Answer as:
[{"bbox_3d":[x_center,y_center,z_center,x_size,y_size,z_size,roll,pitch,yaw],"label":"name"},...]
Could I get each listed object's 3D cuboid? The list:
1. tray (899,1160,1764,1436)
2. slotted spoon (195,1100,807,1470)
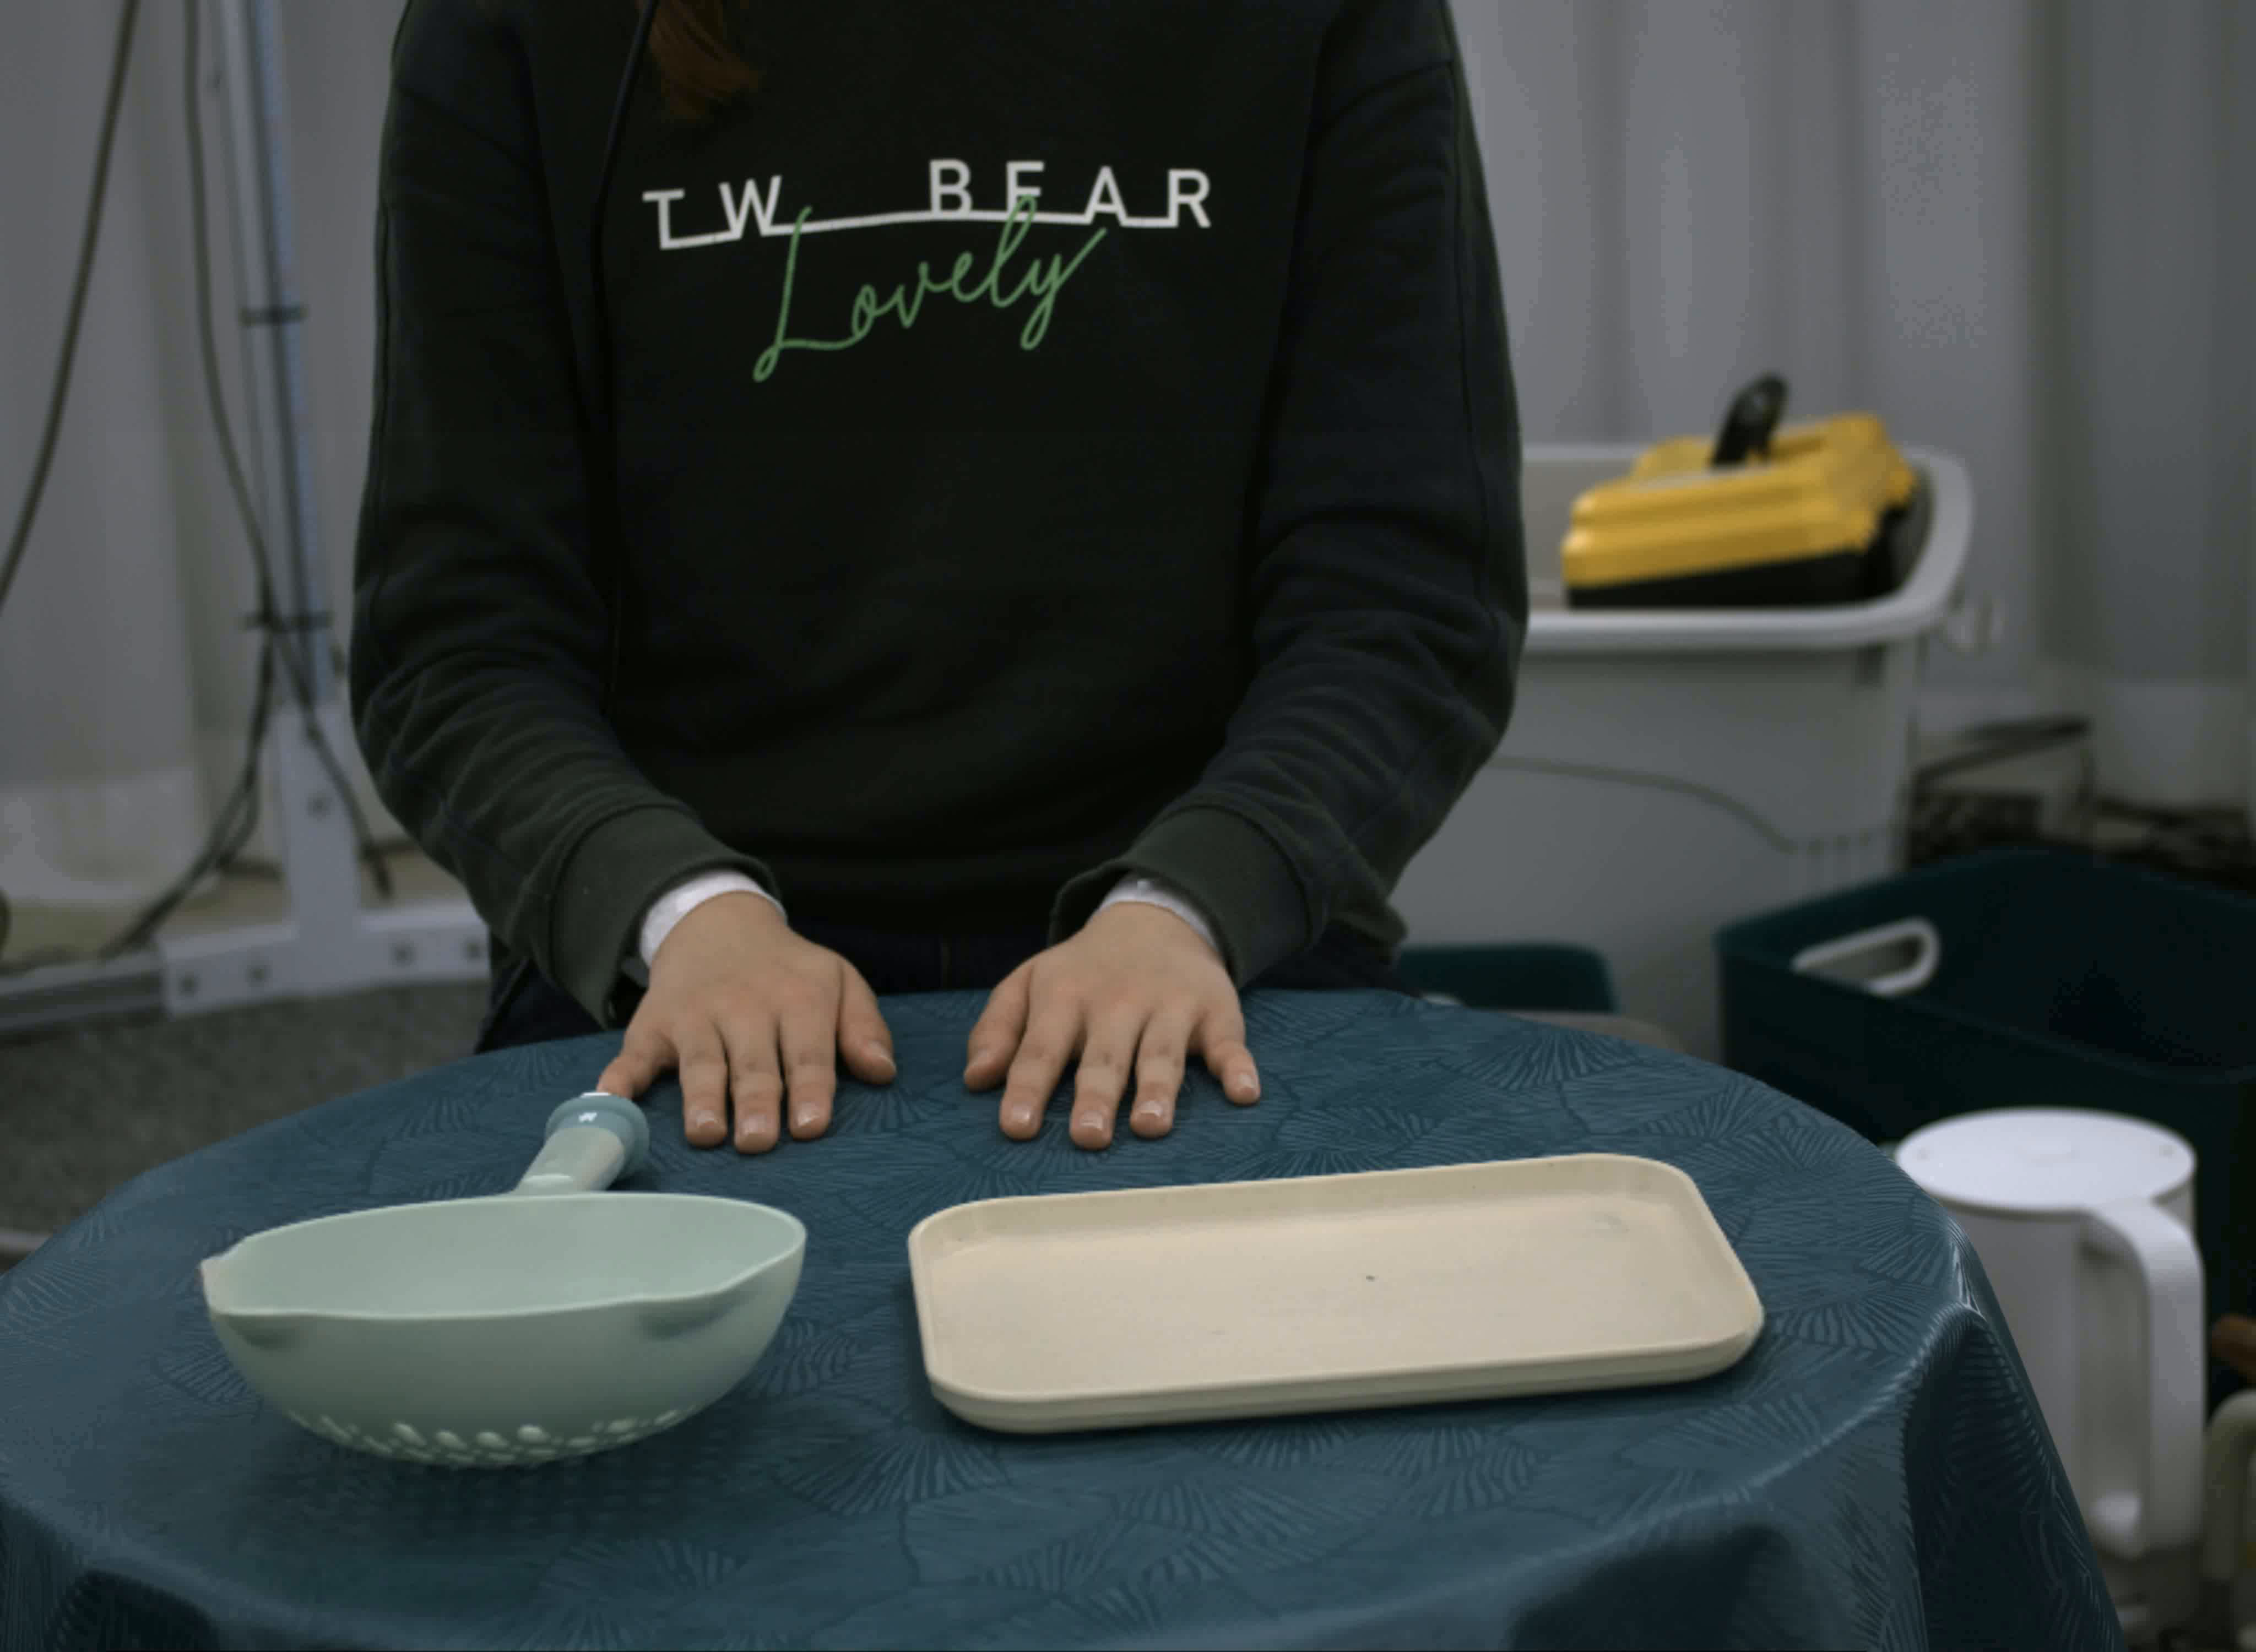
[{"bbox_3d":[0.056,0.137,1.589,0.239,0.017,0.172,-3,15,-4],"label":"tray"},{"bbox_3d":[-0.170,0.119,1.610,0.169,0.075,0.361,-2,14,1],"label":"slotted spoon"}]
